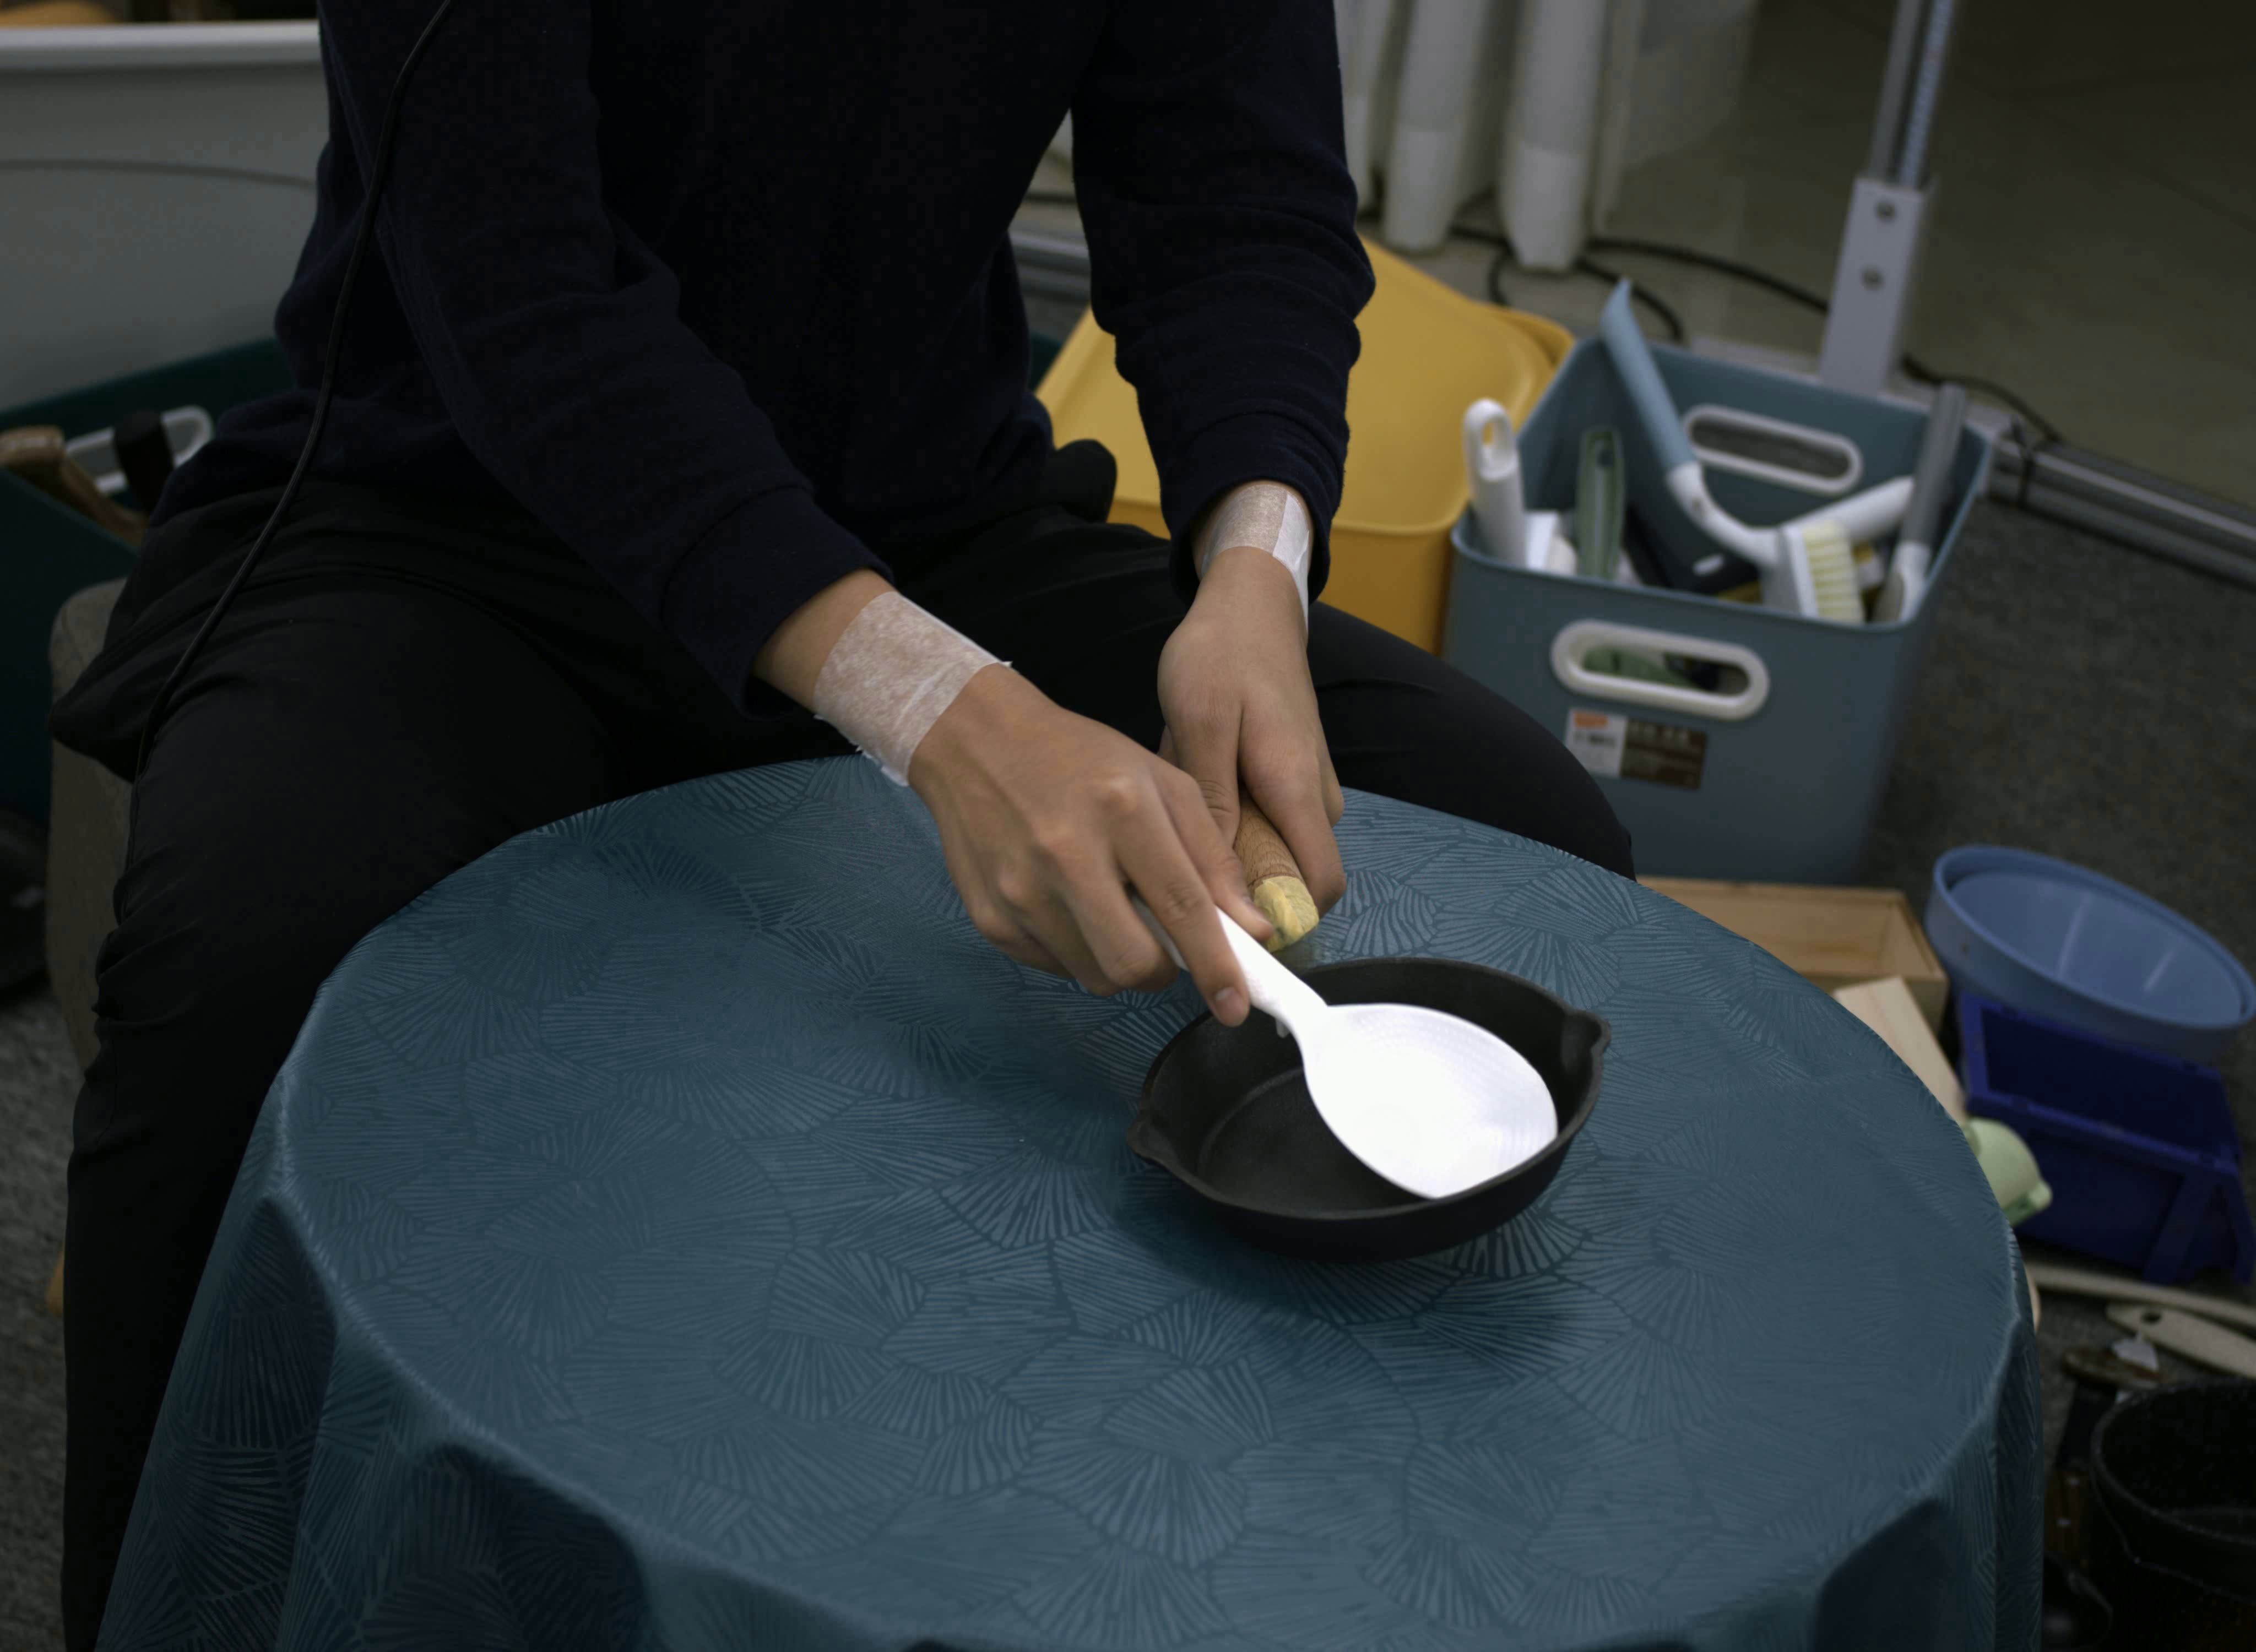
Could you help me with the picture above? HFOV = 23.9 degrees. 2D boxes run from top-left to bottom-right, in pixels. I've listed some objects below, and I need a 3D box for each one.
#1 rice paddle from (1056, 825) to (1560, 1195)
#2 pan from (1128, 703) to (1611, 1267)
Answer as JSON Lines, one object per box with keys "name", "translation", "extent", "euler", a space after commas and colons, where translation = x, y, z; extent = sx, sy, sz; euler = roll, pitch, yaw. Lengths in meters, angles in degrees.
{"name": "rice paddle", "translation": [0.061, 0.063, 1.819], "extent": [0.206, 0.029, 0.069], "euler": [34, 60, 25]}
{"name": "pan", "translation": [0.065, 0.052, 1.871], "extent": [0.168, 0.049, 0.327], "euler": [-12, 32, -7]}
